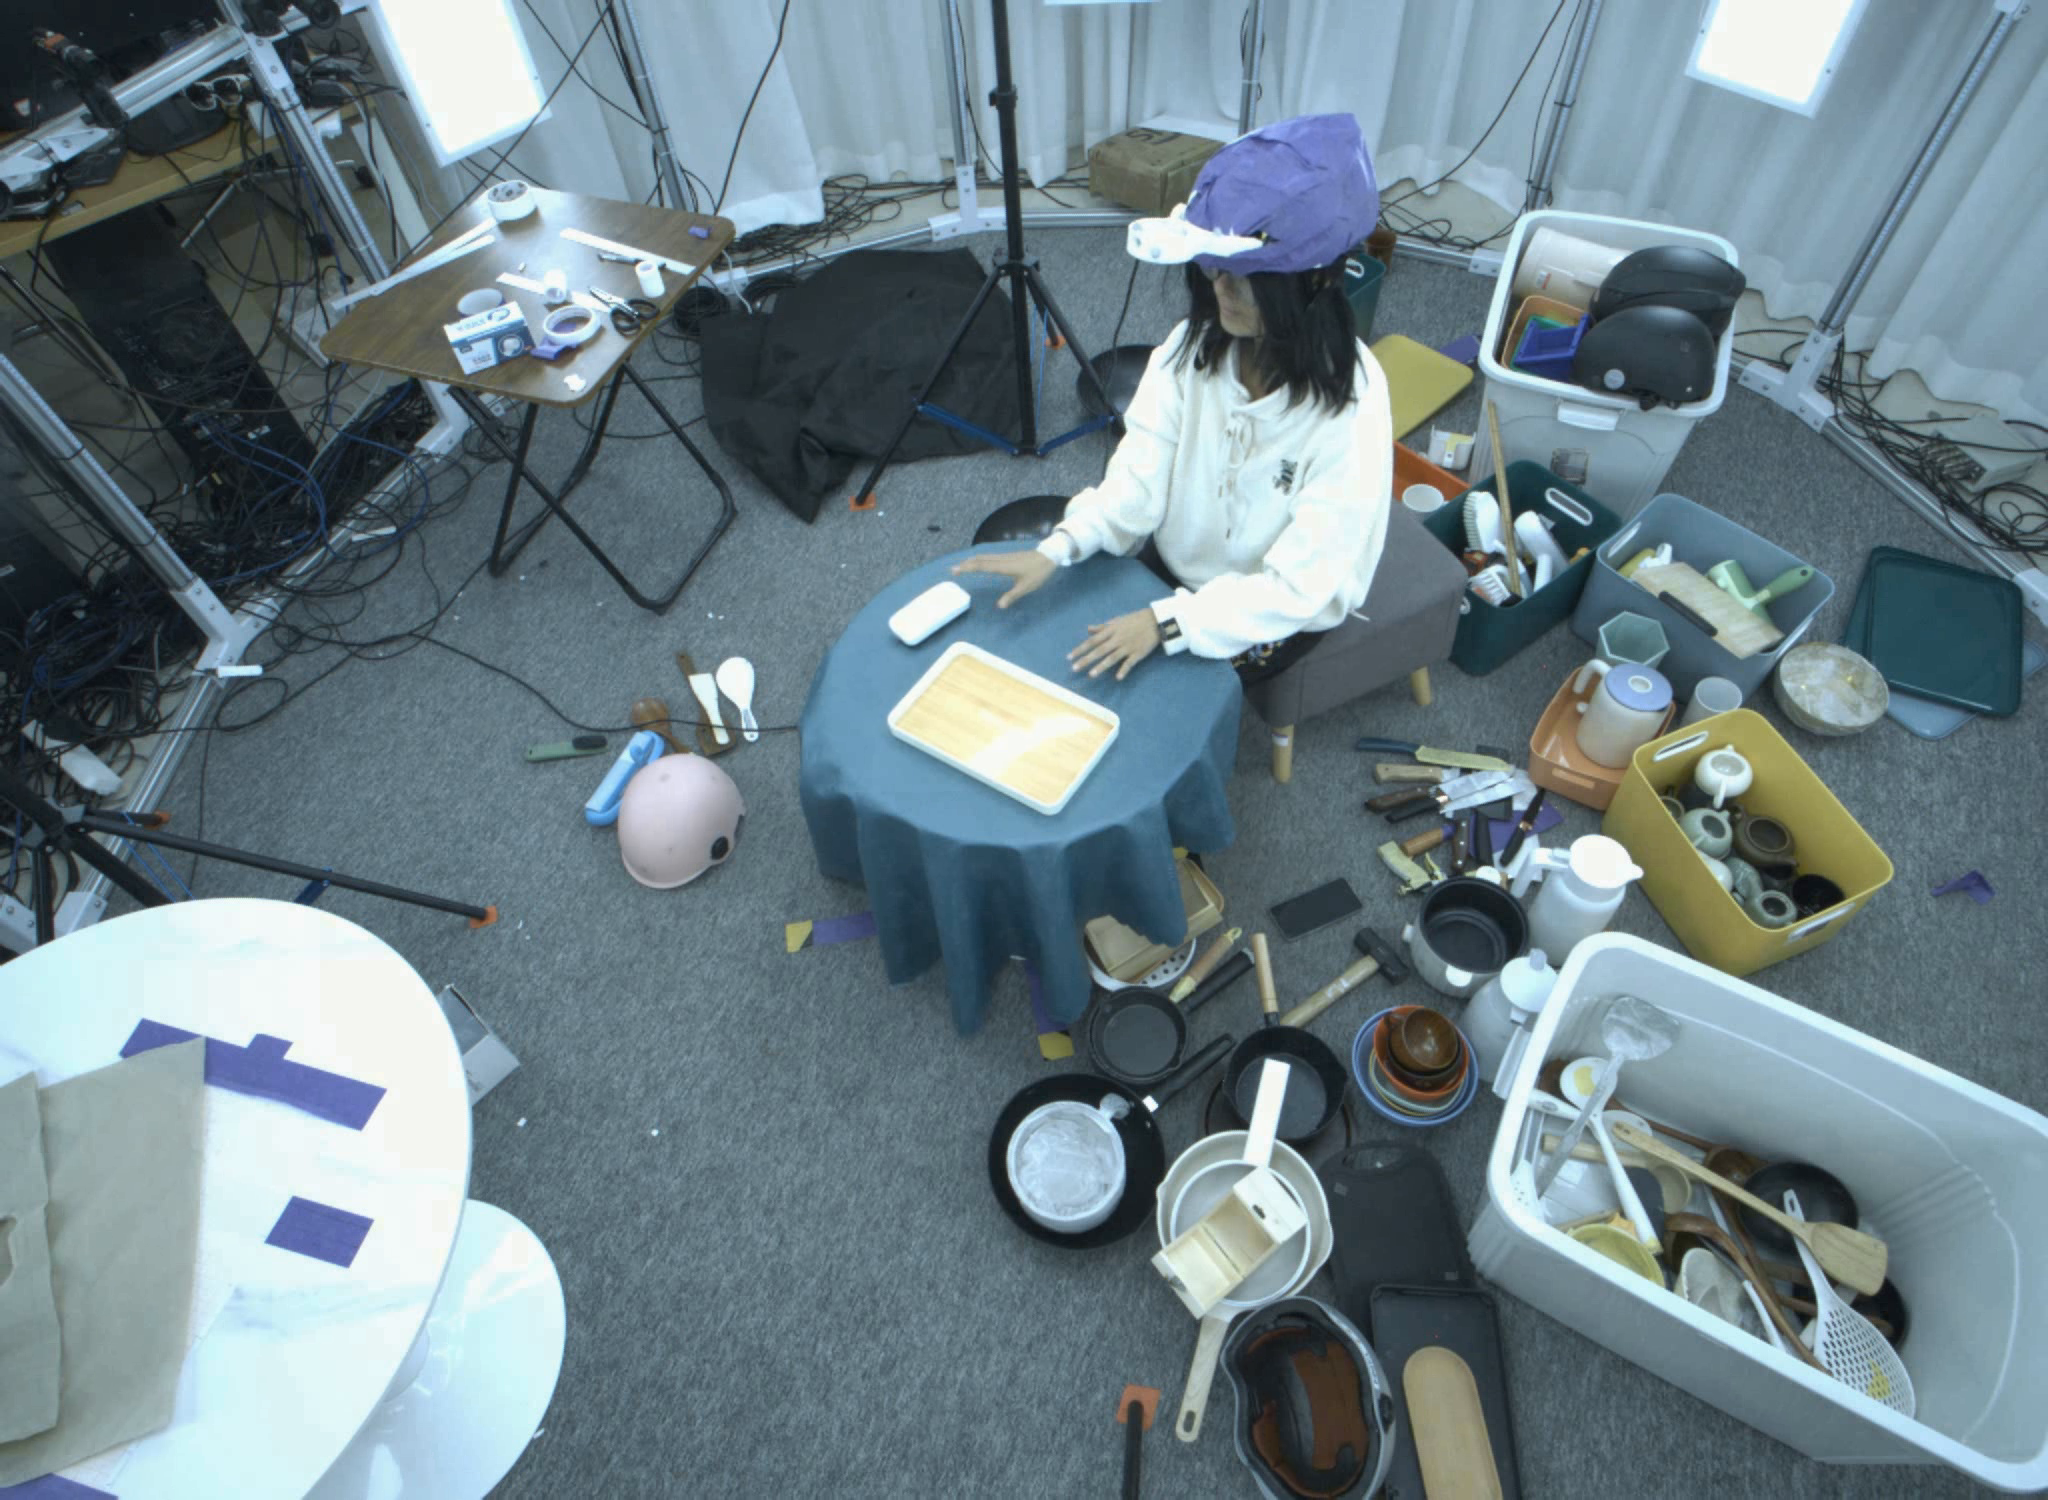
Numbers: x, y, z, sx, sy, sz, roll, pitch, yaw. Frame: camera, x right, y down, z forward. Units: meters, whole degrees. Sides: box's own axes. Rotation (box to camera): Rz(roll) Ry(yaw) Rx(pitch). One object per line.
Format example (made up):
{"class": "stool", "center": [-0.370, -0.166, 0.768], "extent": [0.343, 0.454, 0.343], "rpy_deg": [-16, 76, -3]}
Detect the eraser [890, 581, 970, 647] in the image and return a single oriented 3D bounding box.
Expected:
{"class": "eraser", "center": [-0.146, -0.215, 1.925], "extent": [0.132, 0.035, 0.062], "rpy_deg": [-37, 60, -21]}

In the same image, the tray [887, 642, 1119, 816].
{"class": "tray", "center": [-0.032, -0.036, 1.798], "extent": [0.296, 0.028, 0.192], "rpy_deg": [27, 60, 20]}
